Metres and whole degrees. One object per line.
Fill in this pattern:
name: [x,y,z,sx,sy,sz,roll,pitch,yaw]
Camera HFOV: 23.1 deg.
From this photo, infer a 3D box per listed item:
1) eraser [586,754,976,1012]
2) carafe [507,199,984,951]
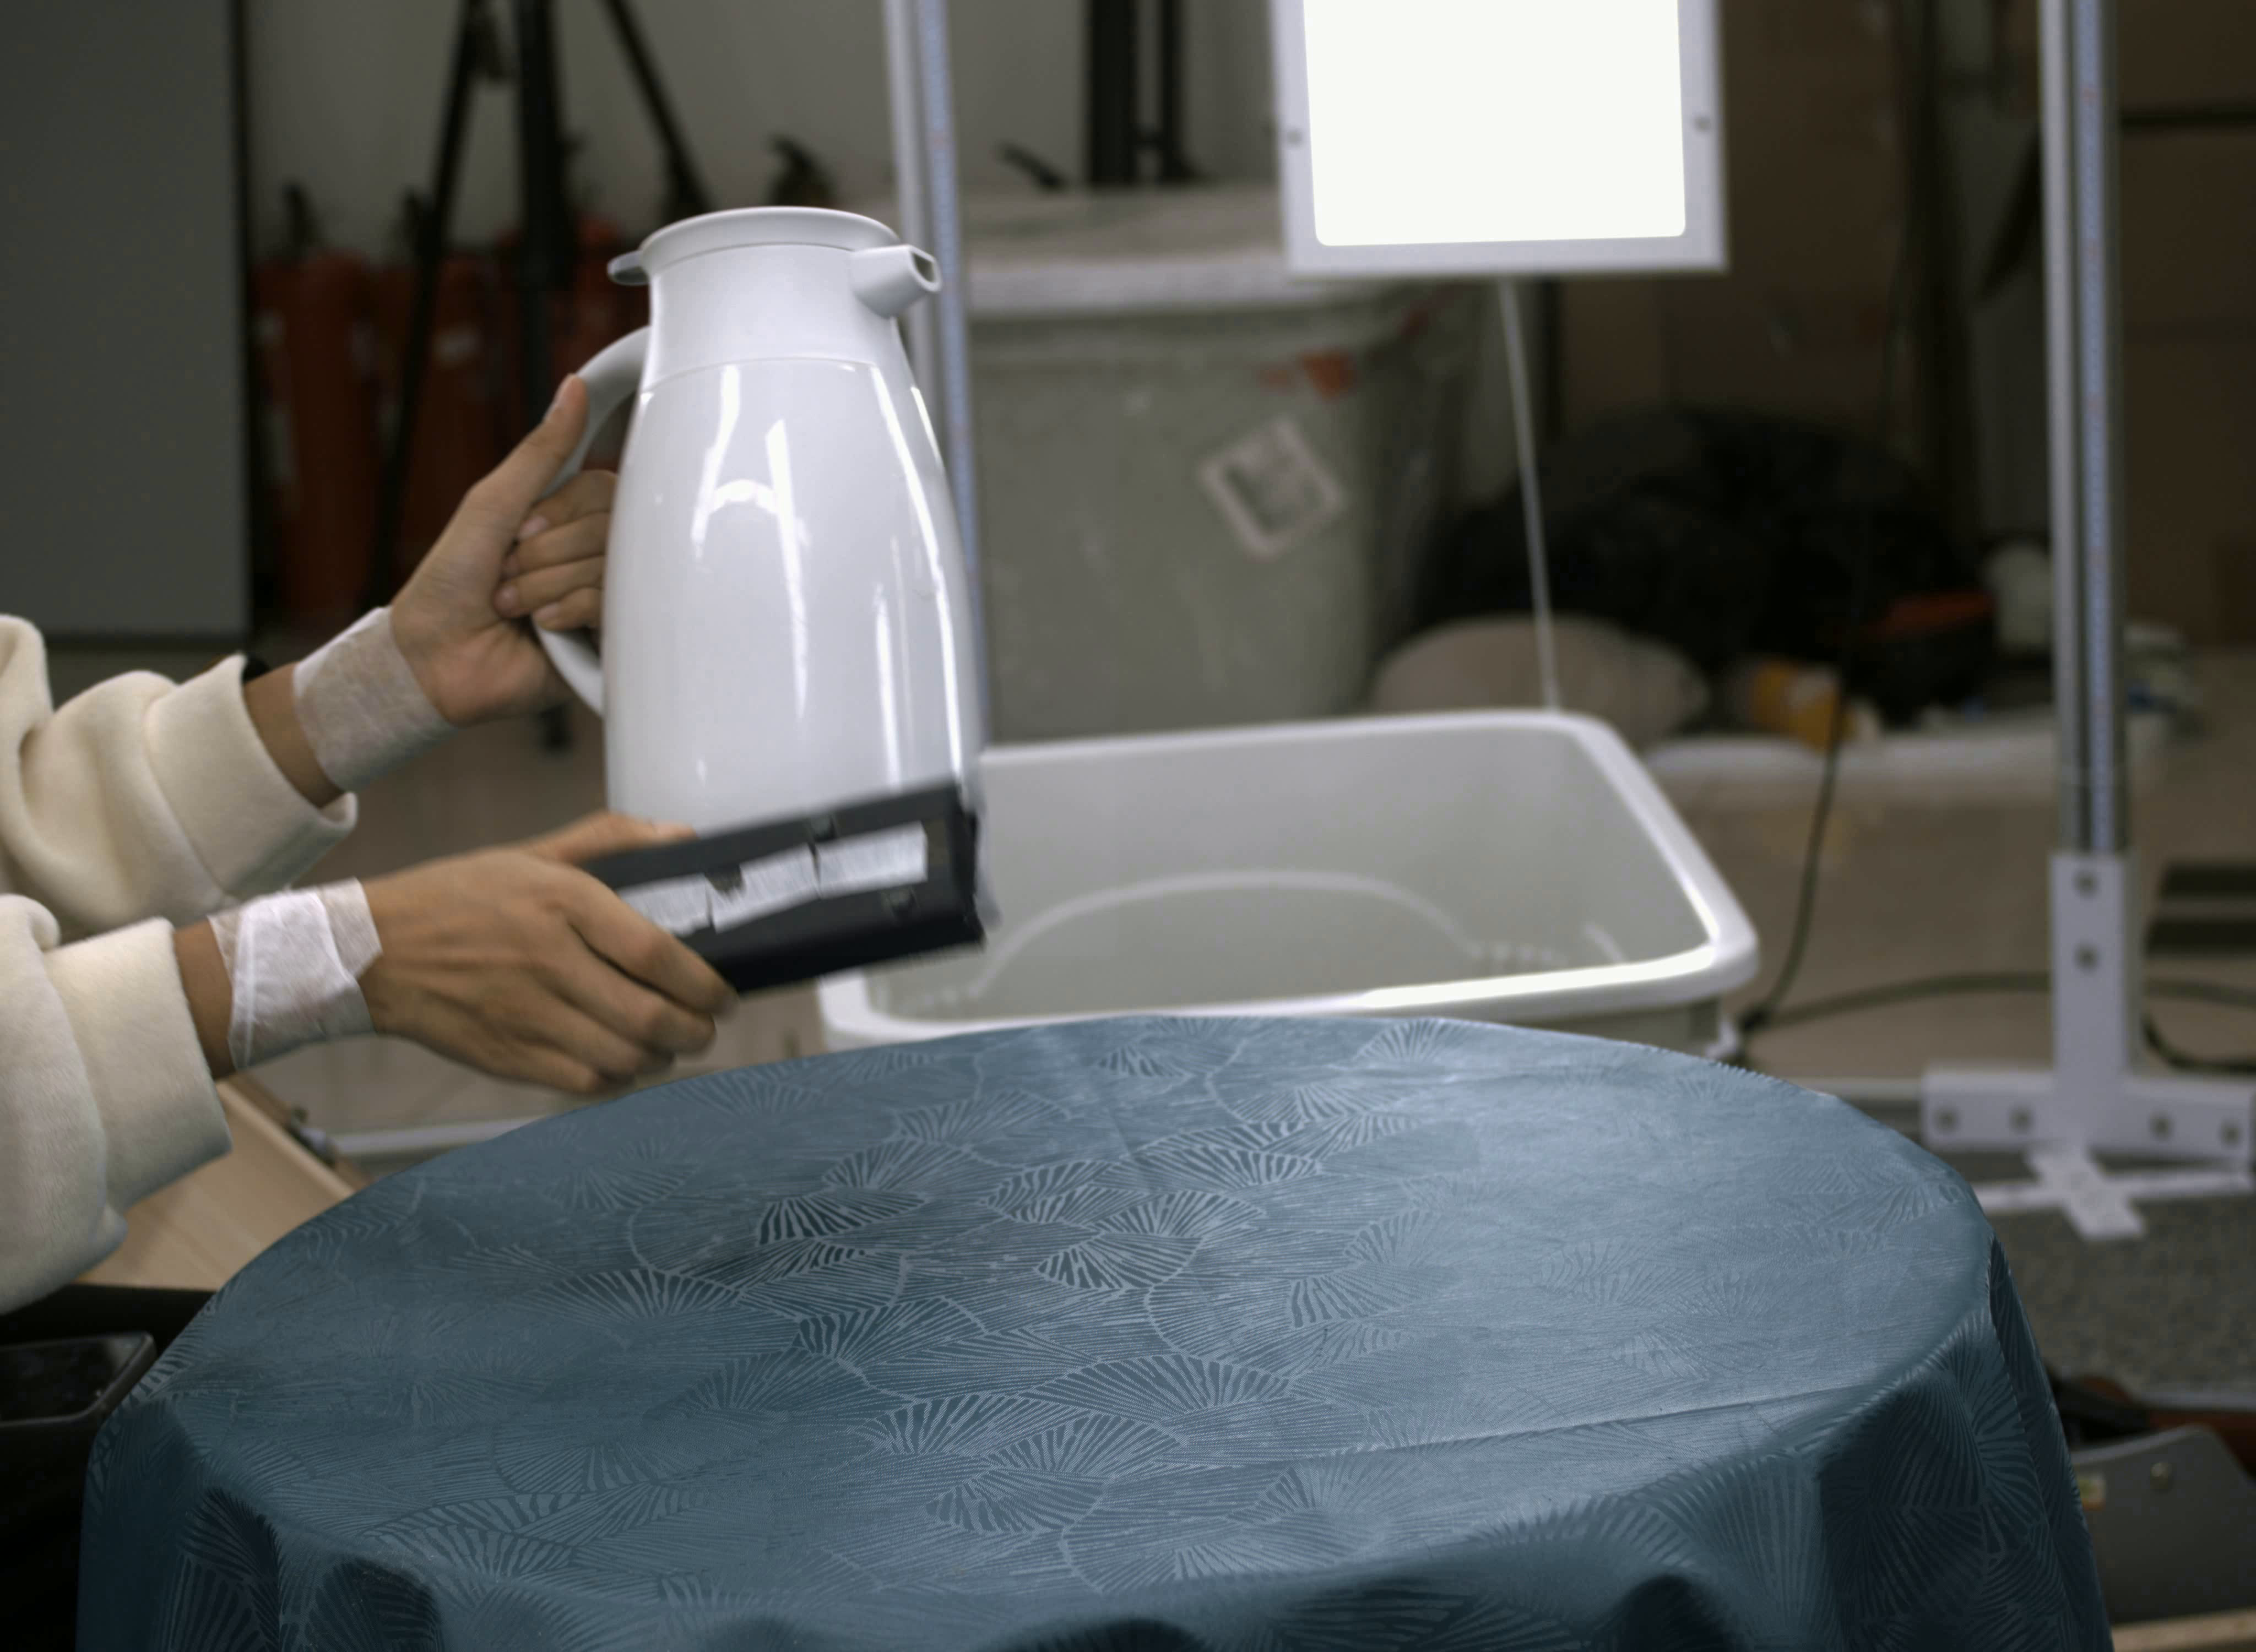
eraser: [-0.112,0.018,1.780,0.126,0.053,0.030,-16,-29,13]
carafe: [-0.140,-0.088,1.915,0.170,0.249,0.130,-11,-14,26]
